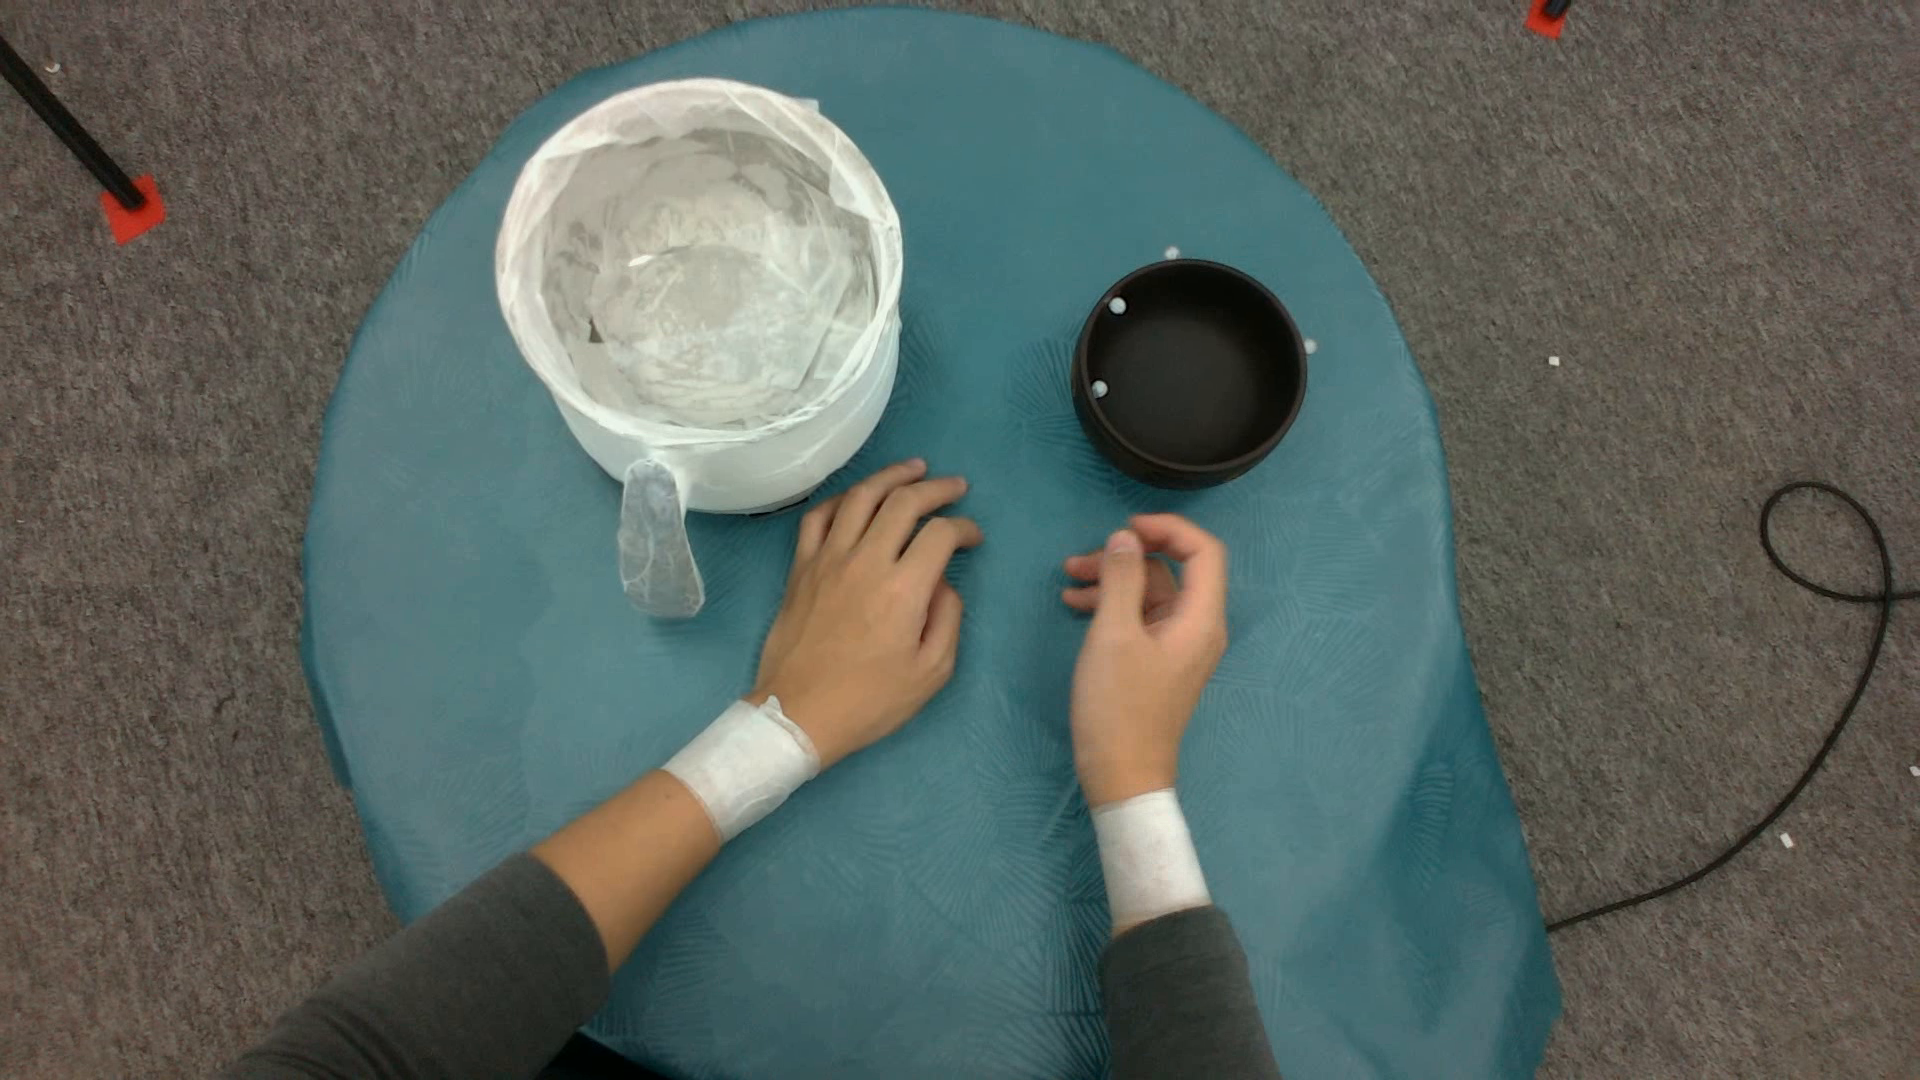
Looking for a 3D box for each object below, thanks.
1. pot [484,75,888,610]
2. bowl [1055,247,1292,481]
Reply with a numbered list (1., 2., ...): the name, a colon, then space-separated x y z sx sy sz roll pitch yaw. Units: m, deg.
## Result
1. pot: -0.129 -0.087 0.665 0.179 0.136 0.234 9 75 -2
2. bowl: 0.107 -0.086 0.718 0.118 0.069 0.118 1 78 -5
